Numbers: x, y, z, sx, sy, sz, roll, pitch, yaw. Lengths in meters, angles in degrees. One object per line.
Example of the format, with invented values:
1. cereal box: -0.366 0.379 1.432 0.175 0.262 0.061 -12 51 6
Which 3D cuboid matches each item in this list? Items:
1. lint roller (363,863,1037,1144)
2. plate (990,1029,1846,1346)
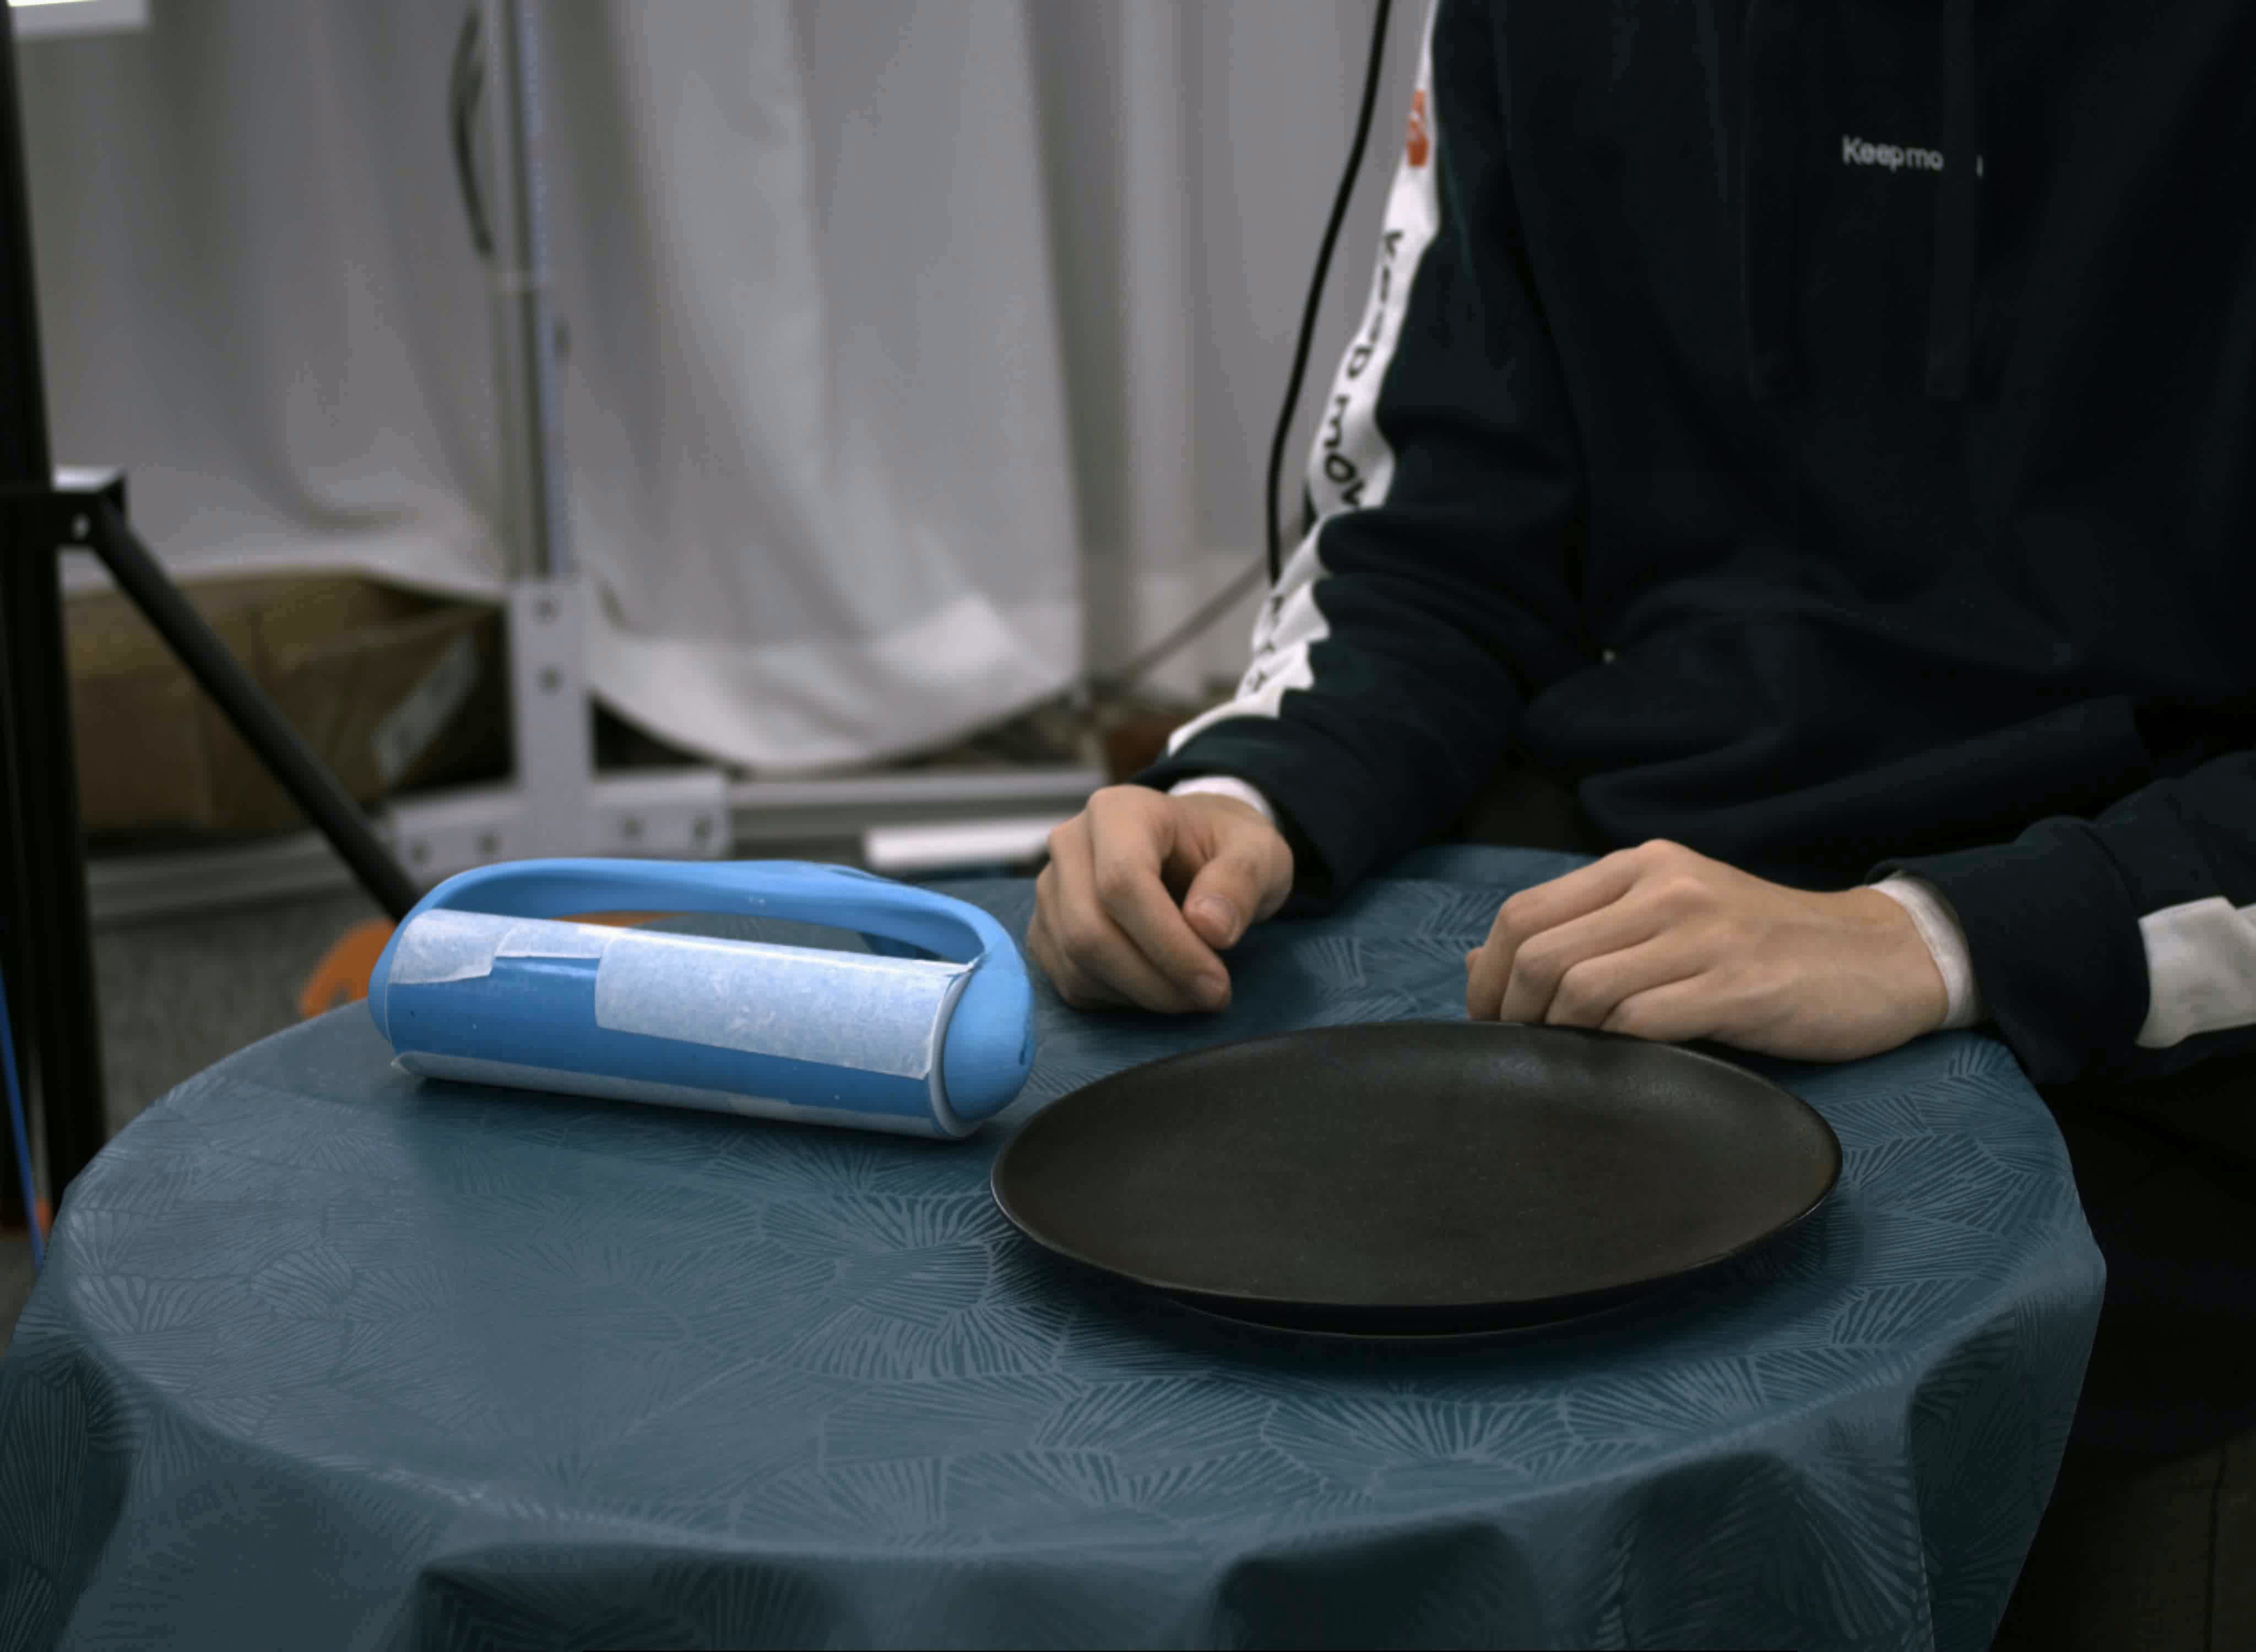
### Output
1. lint roller: -0.113 0.045 1.698 0.232 0.068 0.178 4 16 23
2. plate: 0.083 0.105 1.512 0.243 0.023 0.245 -3 16 -1
